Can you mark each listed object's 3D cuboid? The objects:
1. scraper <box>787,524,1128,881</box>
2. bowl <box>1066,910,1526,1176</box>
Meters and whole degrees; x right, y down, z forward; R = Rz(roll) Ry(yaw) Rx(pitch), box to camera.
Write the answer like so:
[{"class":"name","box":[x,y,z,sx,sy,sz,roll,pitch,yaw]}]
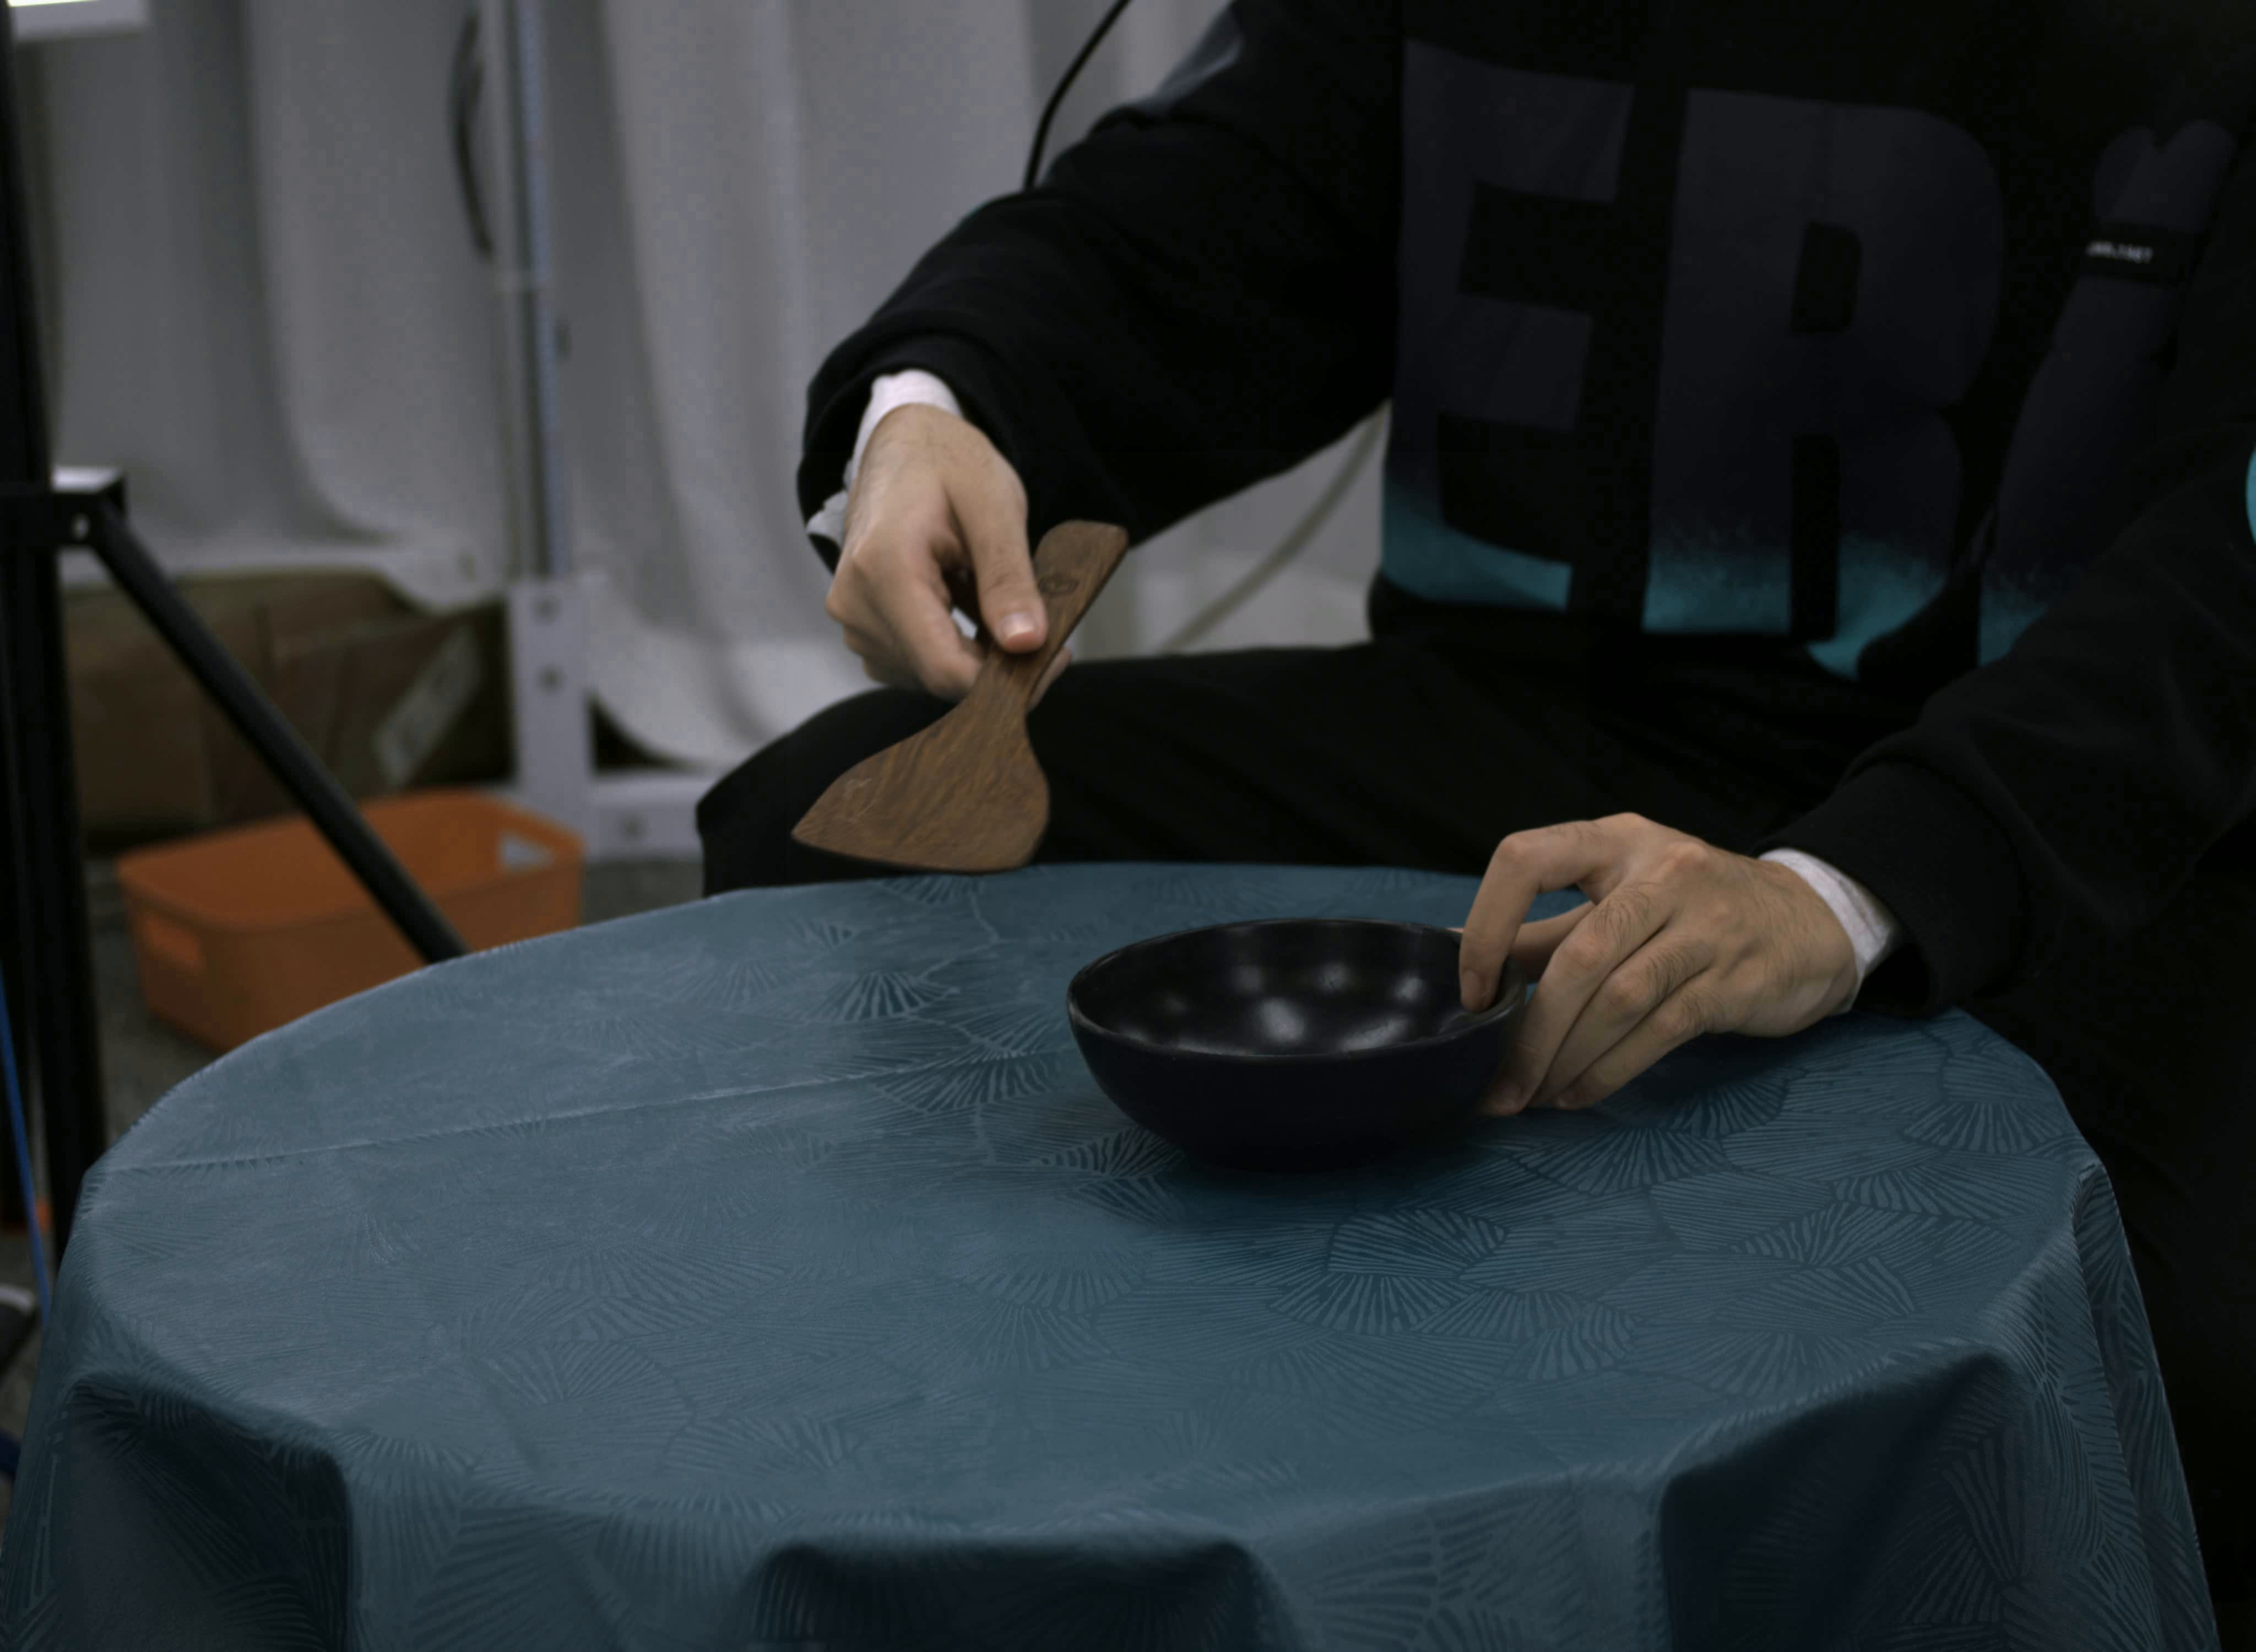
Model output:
[{"class":"scraper","box":[-0.041,-0.041,1.681,0.076,0.011,0.210,9,35,15]},{"class":"bowl","box":[0.052,0.070,1.591,0.139,0.050,0.141,-5,17,0]}]
